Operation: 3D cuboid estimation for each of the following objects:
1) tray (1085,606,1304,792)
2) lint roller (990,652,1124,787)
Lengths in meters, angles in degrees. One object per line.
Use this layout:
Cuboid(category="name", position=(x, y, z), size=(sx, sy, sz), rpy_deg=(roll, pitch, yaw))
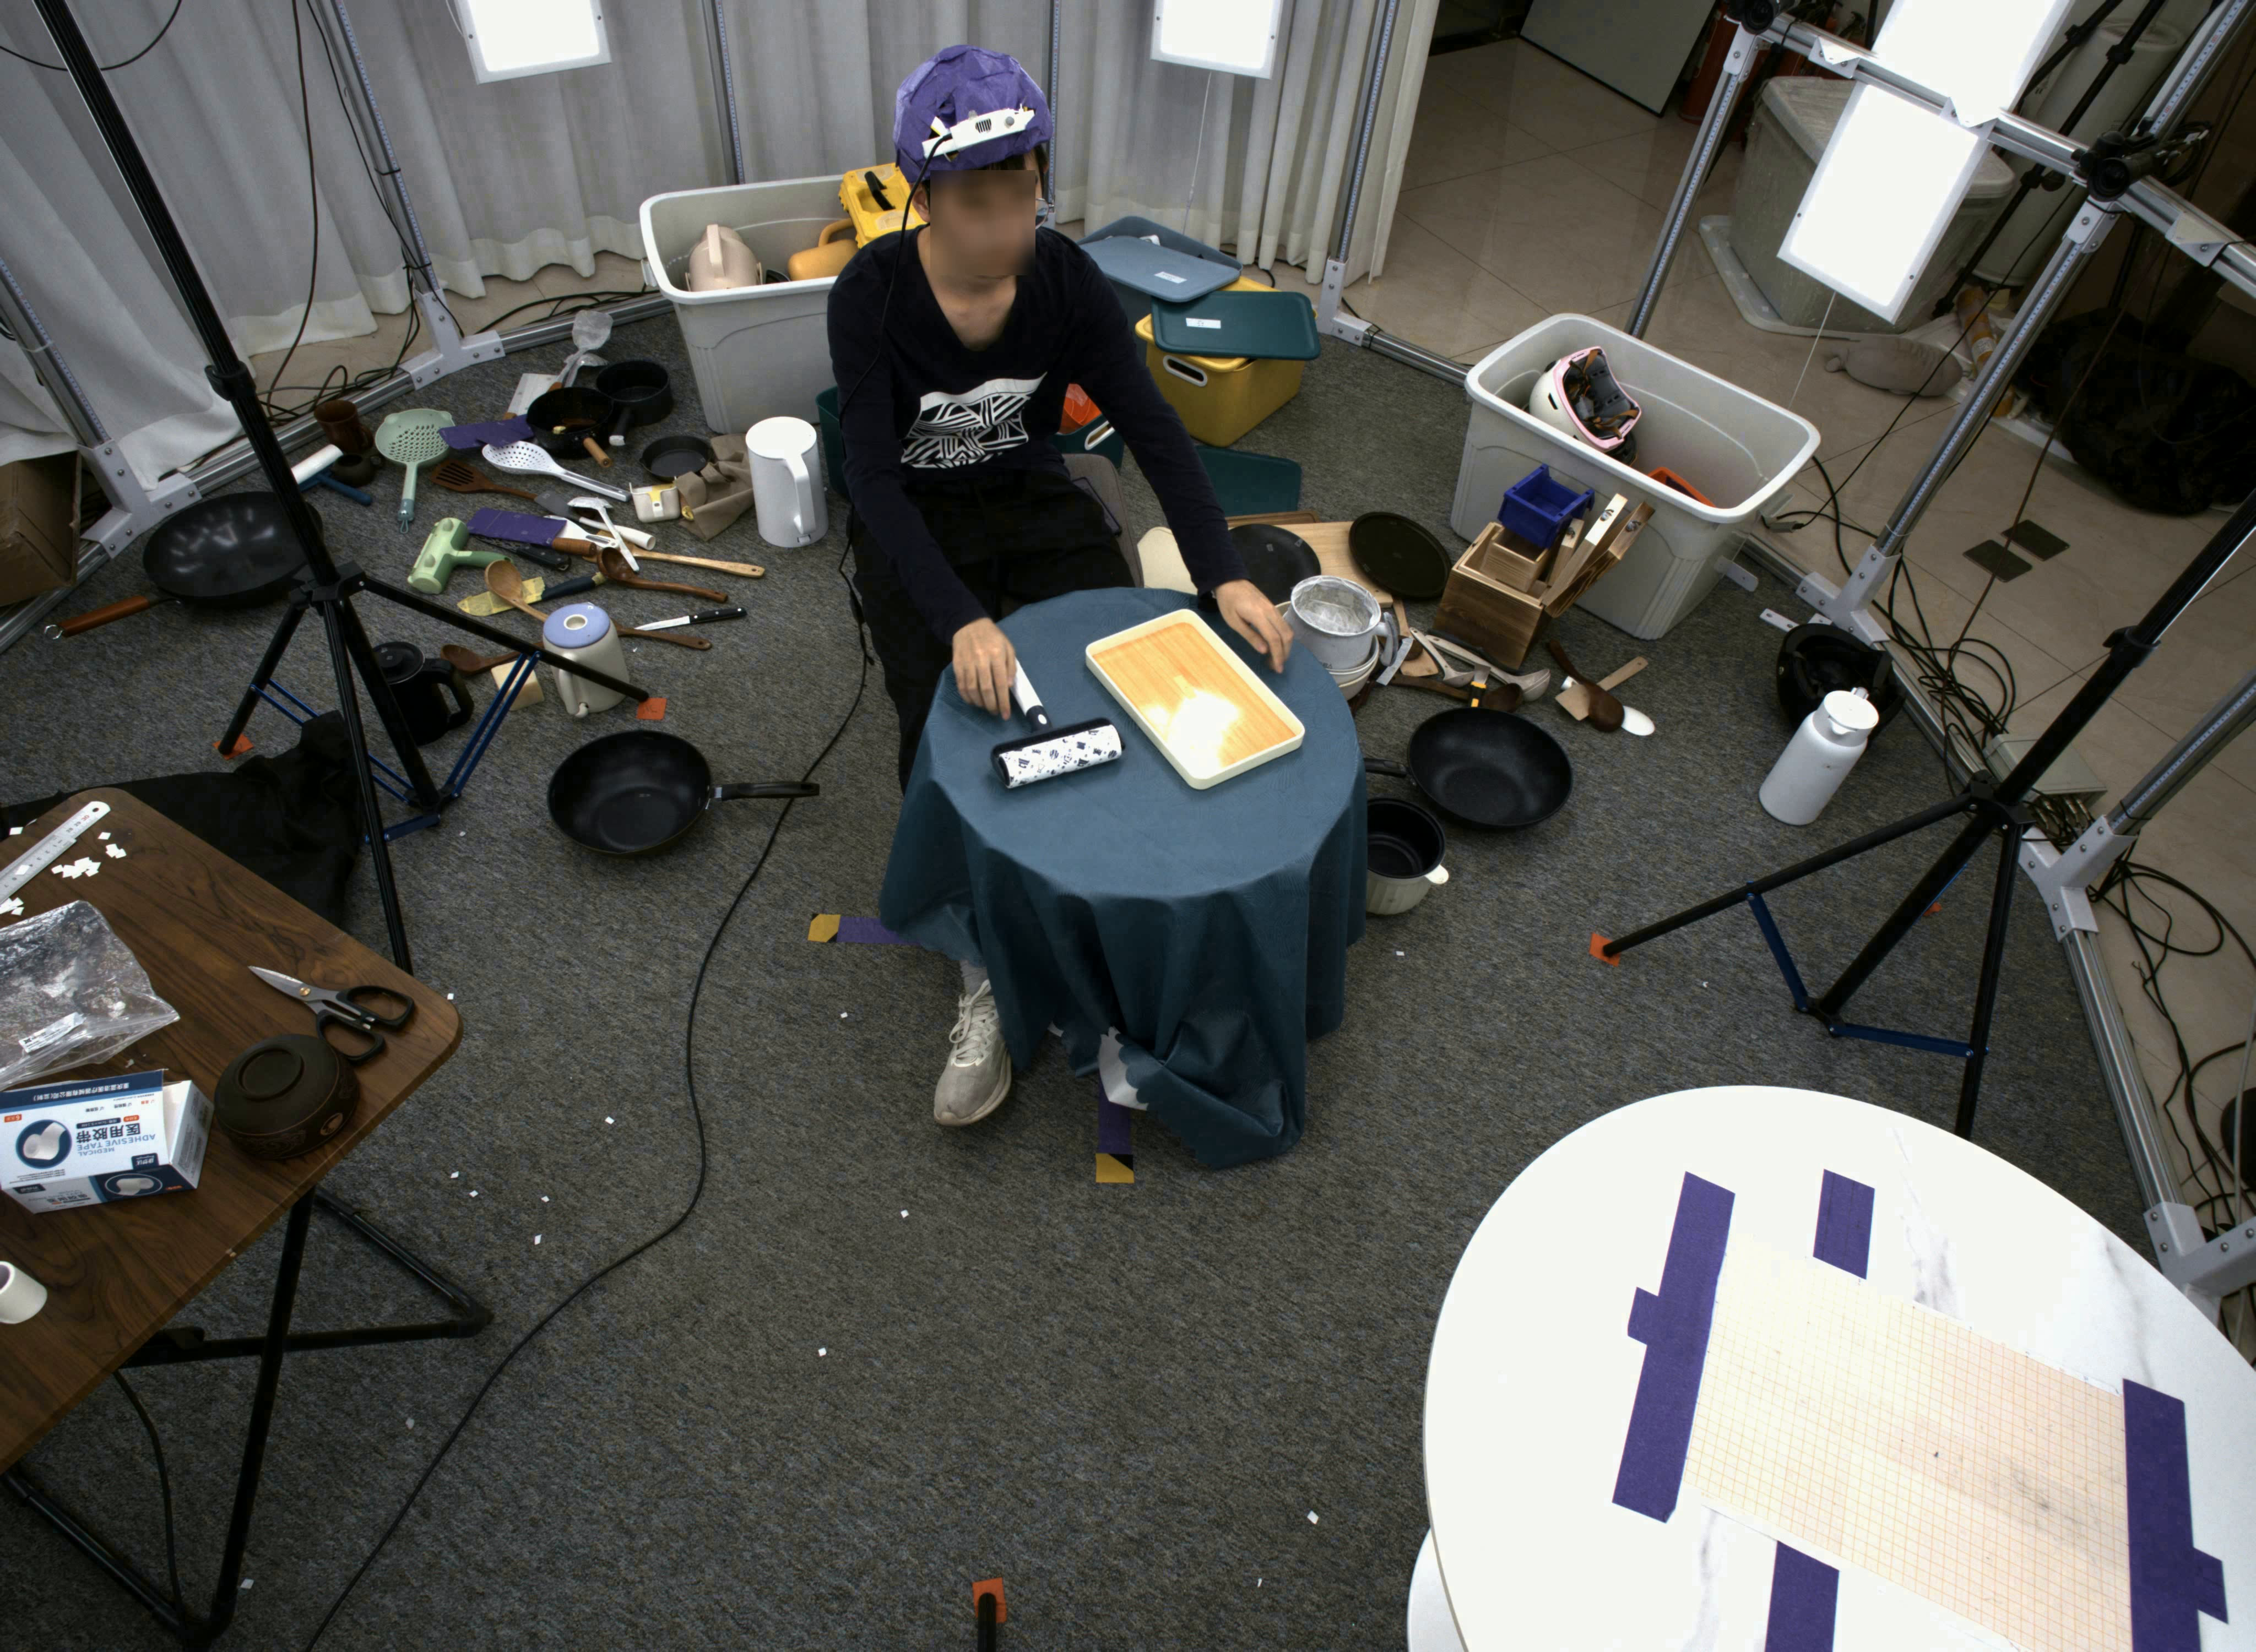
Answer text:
Cuboid(category="tray", position=(0.090, -0.186, 1.817), size=(0.192, 0.027, 0.306), rpy_deg=(-25, 55, -20))
Cuboid(category="lint roller", position=(-0.134, -0.165, 1.774), size=(0.176, 0.049, 0.253), rpy_deg=(-17, 51, -17))
